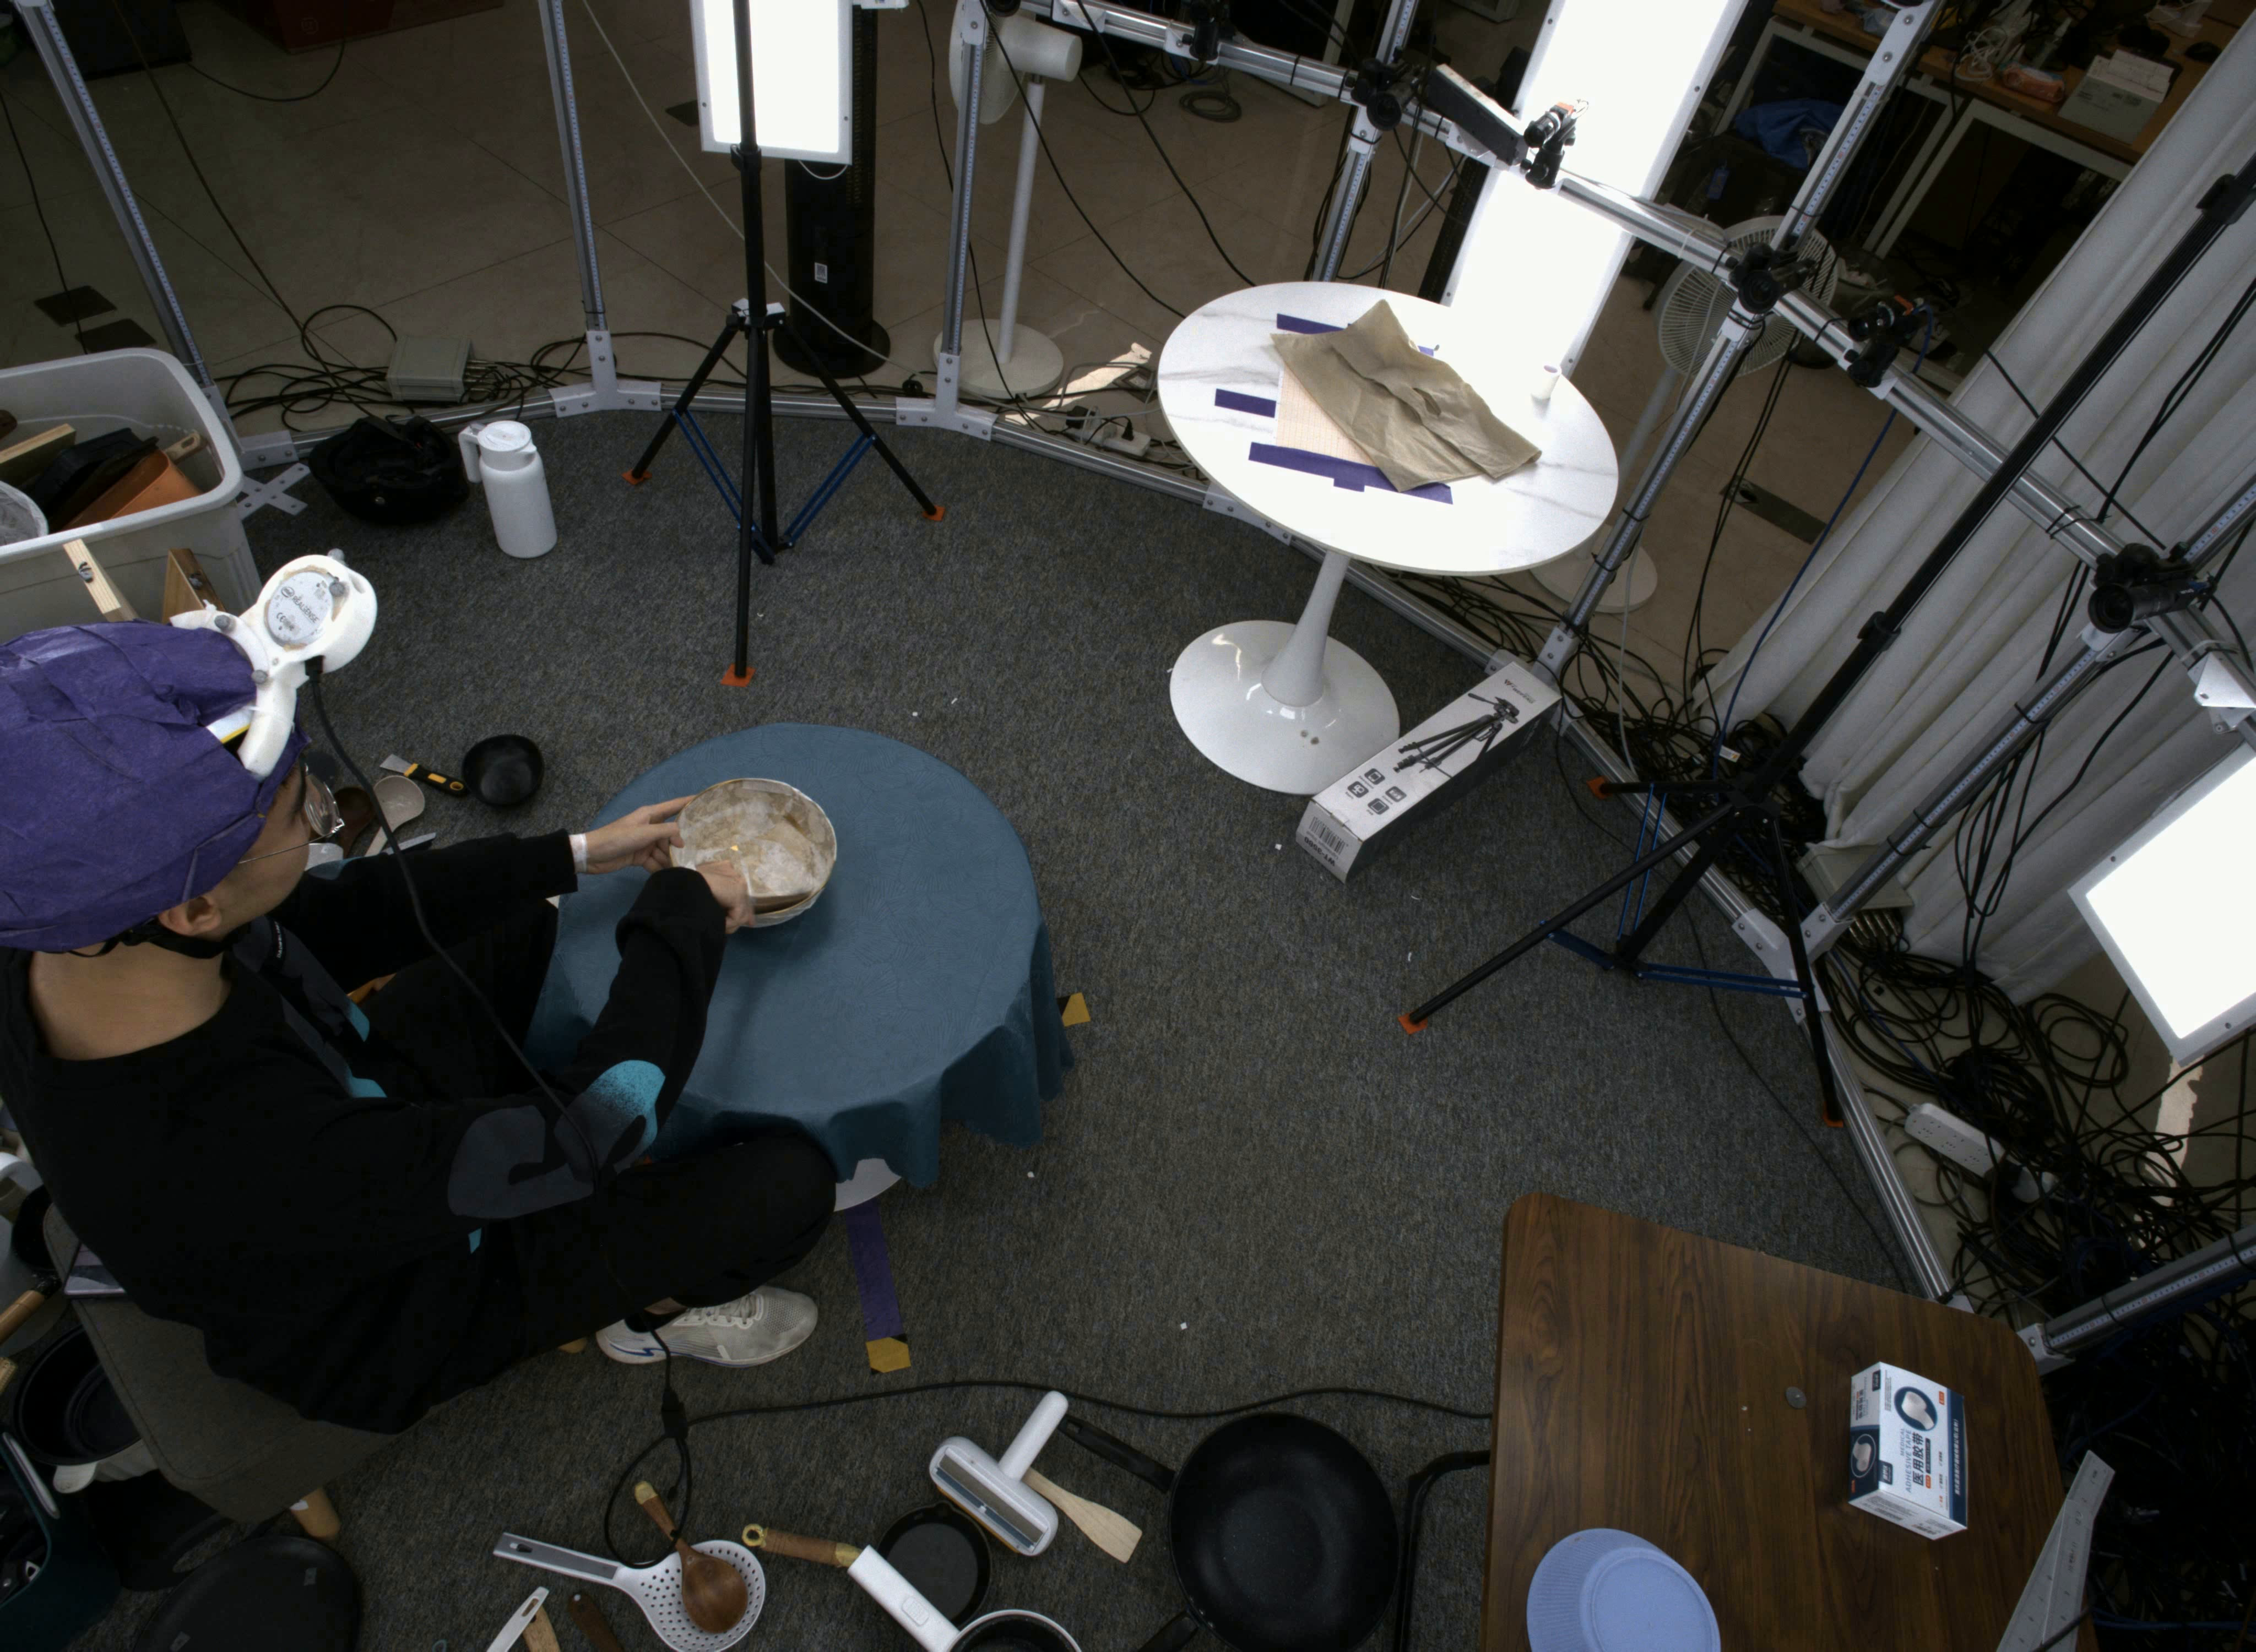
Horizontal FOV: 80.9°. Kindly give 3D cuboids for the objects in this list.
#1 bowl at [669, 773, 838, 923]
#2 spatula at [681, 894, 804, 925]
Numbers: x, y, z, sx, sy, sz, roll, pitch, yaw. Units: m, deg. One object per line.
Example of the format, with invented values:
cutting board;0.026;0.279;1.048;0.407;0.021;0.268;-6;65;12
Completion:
bowl;-0.474;0.041;1.611;0.217;0.095;0.211;17;49;-18
spatula;-0.442;0.090;1.458;0.095;0.384;0.016;-1;89;-4
